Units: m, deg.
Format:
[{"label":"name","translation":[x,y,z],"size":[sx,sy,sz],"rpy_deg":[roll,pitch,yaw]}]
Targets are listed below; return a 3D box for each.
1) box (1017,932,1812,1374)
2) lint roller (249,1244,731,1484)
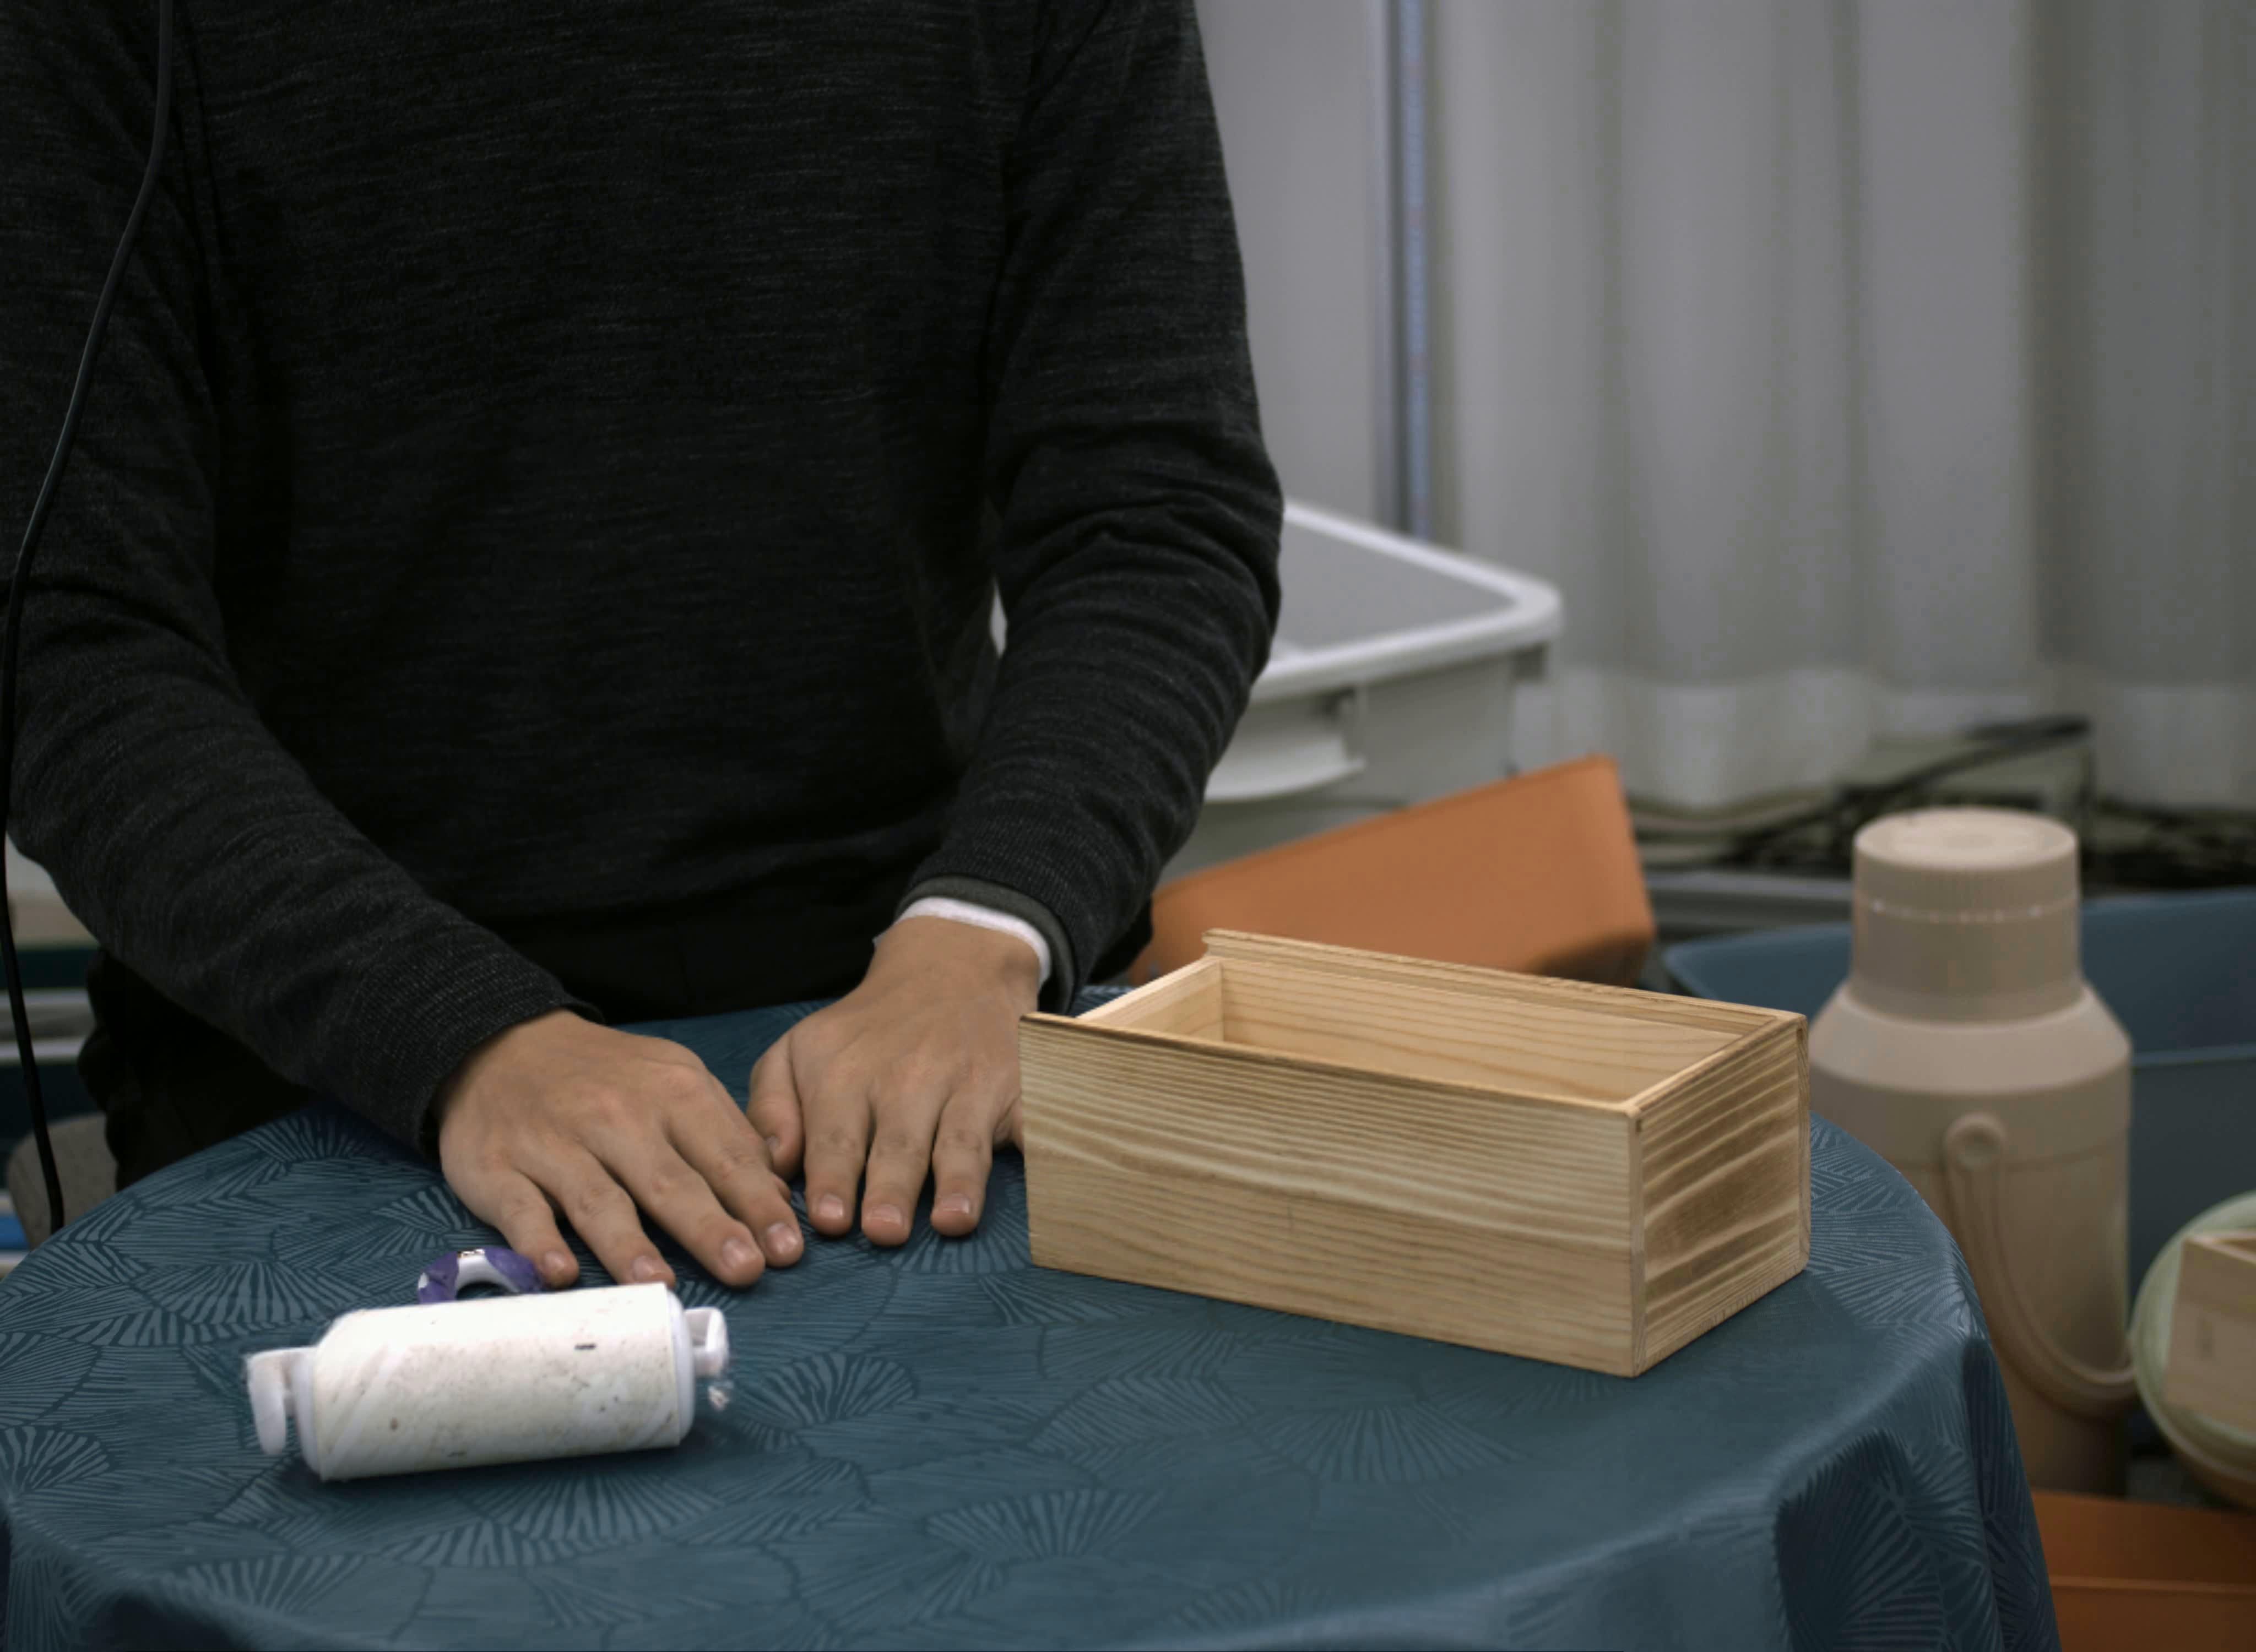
[{"label":"box","translation":[0.084,0.094,1.622],"size":[0.212,0.080,0.107],"rpy_deg":[6,17,34]},{"label":"lint roller","translation":[-0.184,0.137,1.575],"size":[0.132,0.050,0.182],"rpy_deg":[-6,16,-6]}]
